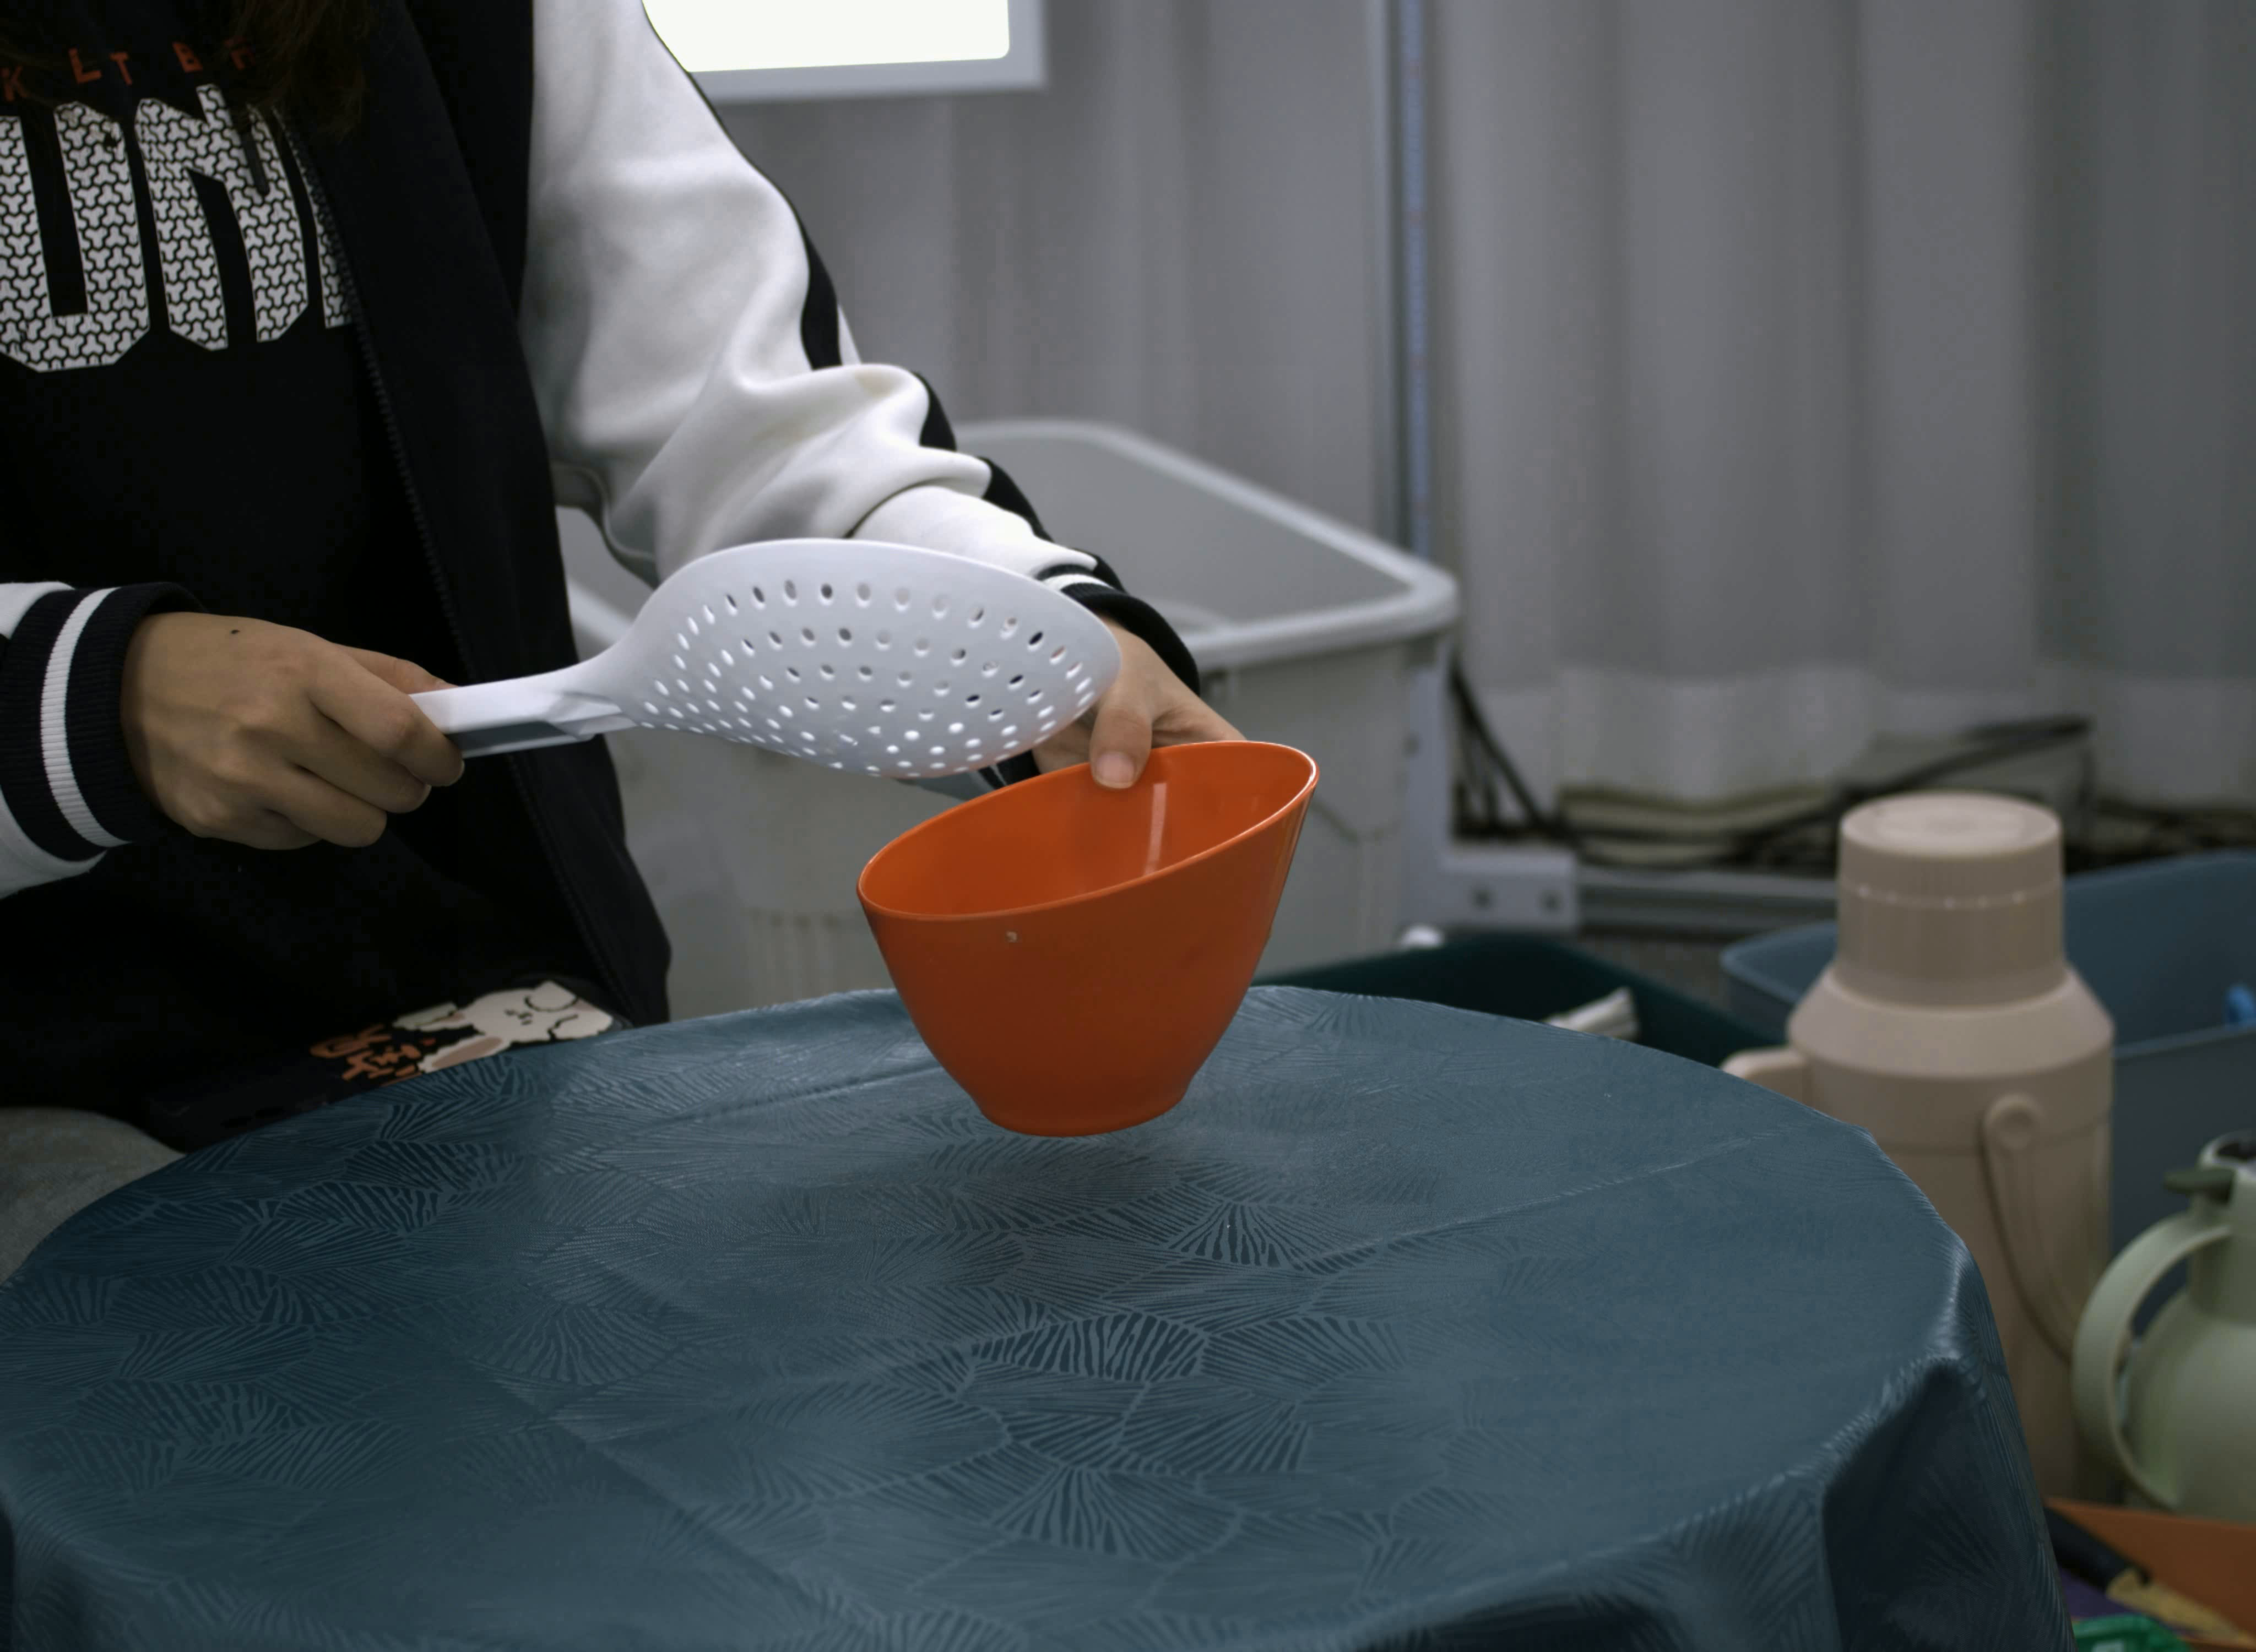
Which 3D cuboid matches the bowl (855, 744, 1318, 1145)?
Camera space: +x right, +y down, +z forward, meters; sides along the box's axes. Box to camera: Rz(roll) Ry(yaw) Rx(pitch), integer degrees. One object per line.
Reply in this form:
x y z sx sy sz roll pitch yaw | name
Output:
-0.009 0.040 1.707 0.147 0.104 0.149 -7 20 2 | bowl

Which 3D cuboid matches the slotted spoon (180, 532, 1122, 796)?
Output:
-0.157 -0.039 1.659 0.350 0.046 0.134 -2 -23 37 | slotted spoon
